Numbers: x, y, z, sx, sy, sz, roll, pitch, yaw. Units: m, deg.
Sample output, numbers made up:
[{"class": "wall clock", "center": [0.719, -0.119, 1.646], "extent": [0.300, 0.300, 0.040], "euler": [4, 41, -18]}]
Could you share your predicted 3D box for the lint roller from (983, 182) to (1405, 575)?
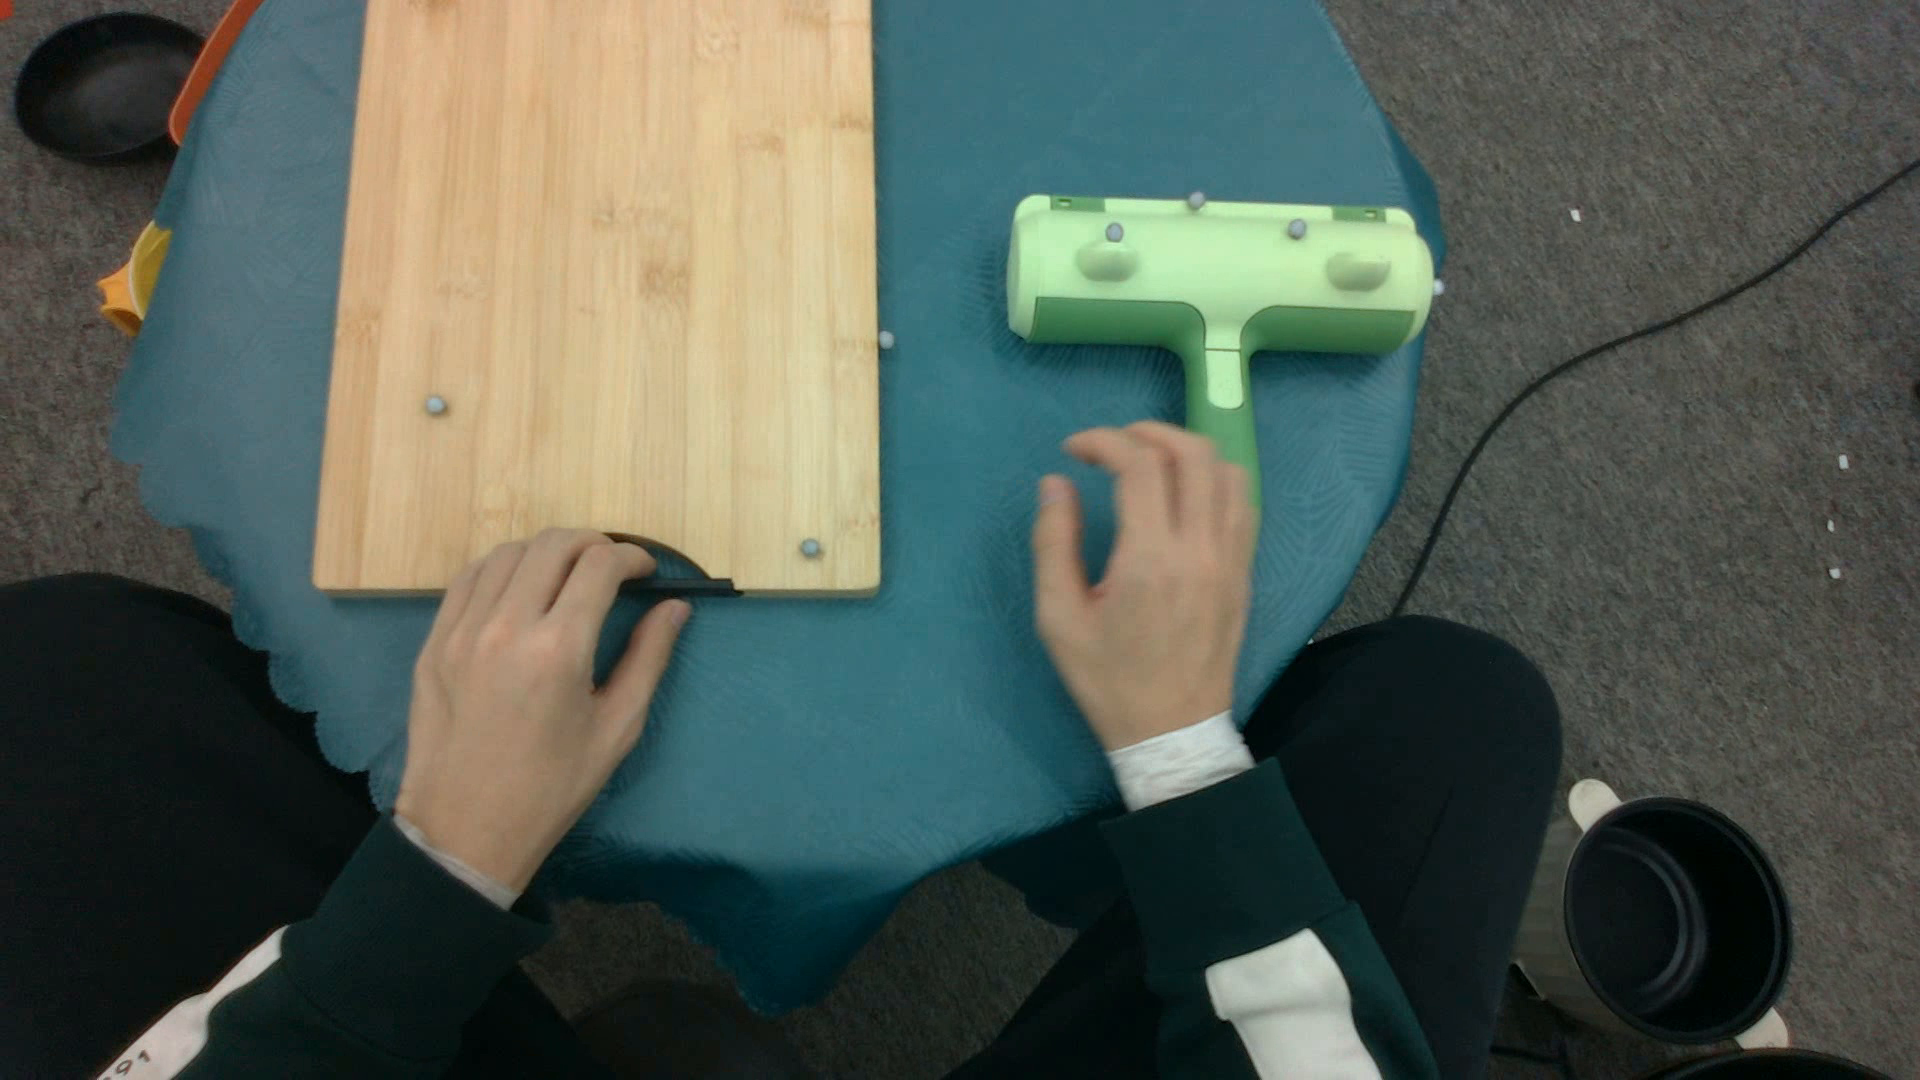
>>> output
[{"class": "lint roller", "center": [0.113, -0.081, 0.633], "extent": [0.199, 0.082, 0.184], "euler": [0, 71, -7]}]

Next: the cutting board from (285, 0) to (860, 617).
[{"class": "cutting board", "center": [-0.173, -0.136, 0.647], "extent": [0.251, 0.023, 0.349], "euler": [-2, 74, -7]}]
